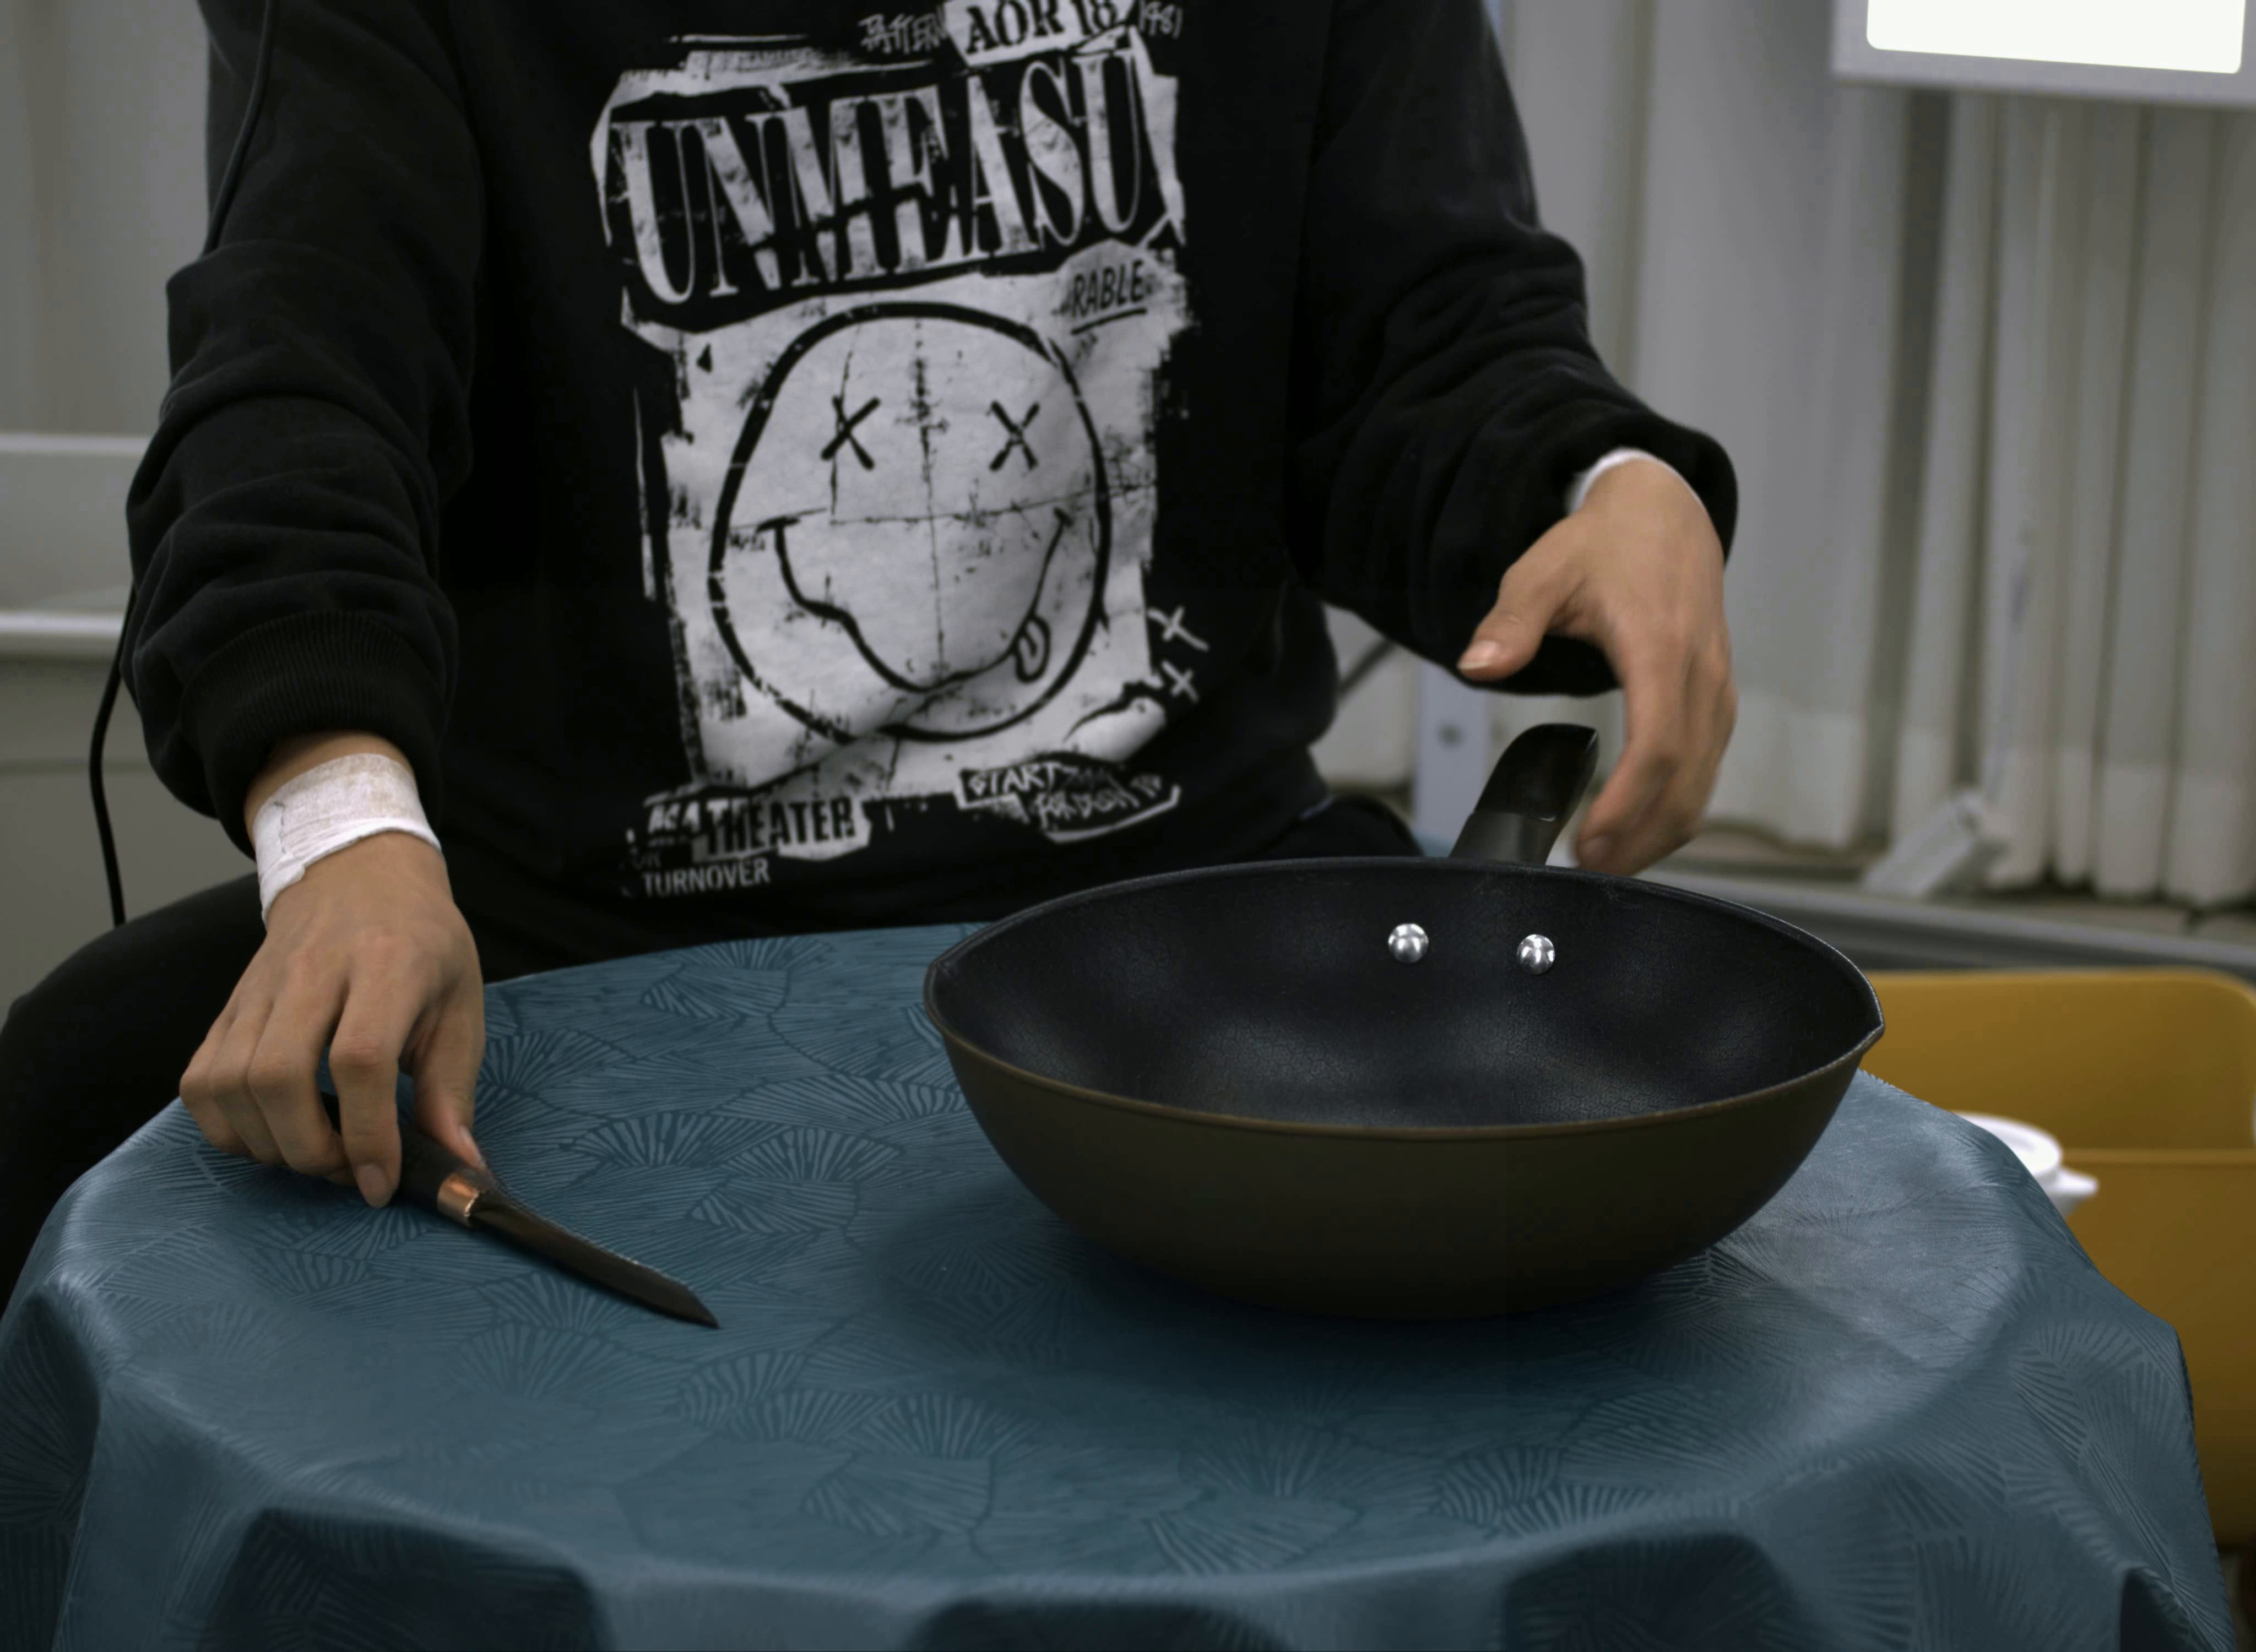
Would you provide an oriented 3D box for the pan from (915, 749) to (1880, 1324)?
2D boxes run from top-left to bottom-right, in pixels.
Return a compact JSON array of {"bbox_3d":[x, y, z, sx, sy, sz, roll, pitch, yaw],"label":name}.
[{"bbox_3d":[0.100,0.063,1.654,0.286,0.087,0.463,4,15,13],"label":"pan"}]

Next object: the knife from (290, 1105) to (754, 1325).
[{"bbox_3d":[-0.186,0.117,1.584,0.026,0.017,0.222,4,10,-43],"label":"knife"}]
